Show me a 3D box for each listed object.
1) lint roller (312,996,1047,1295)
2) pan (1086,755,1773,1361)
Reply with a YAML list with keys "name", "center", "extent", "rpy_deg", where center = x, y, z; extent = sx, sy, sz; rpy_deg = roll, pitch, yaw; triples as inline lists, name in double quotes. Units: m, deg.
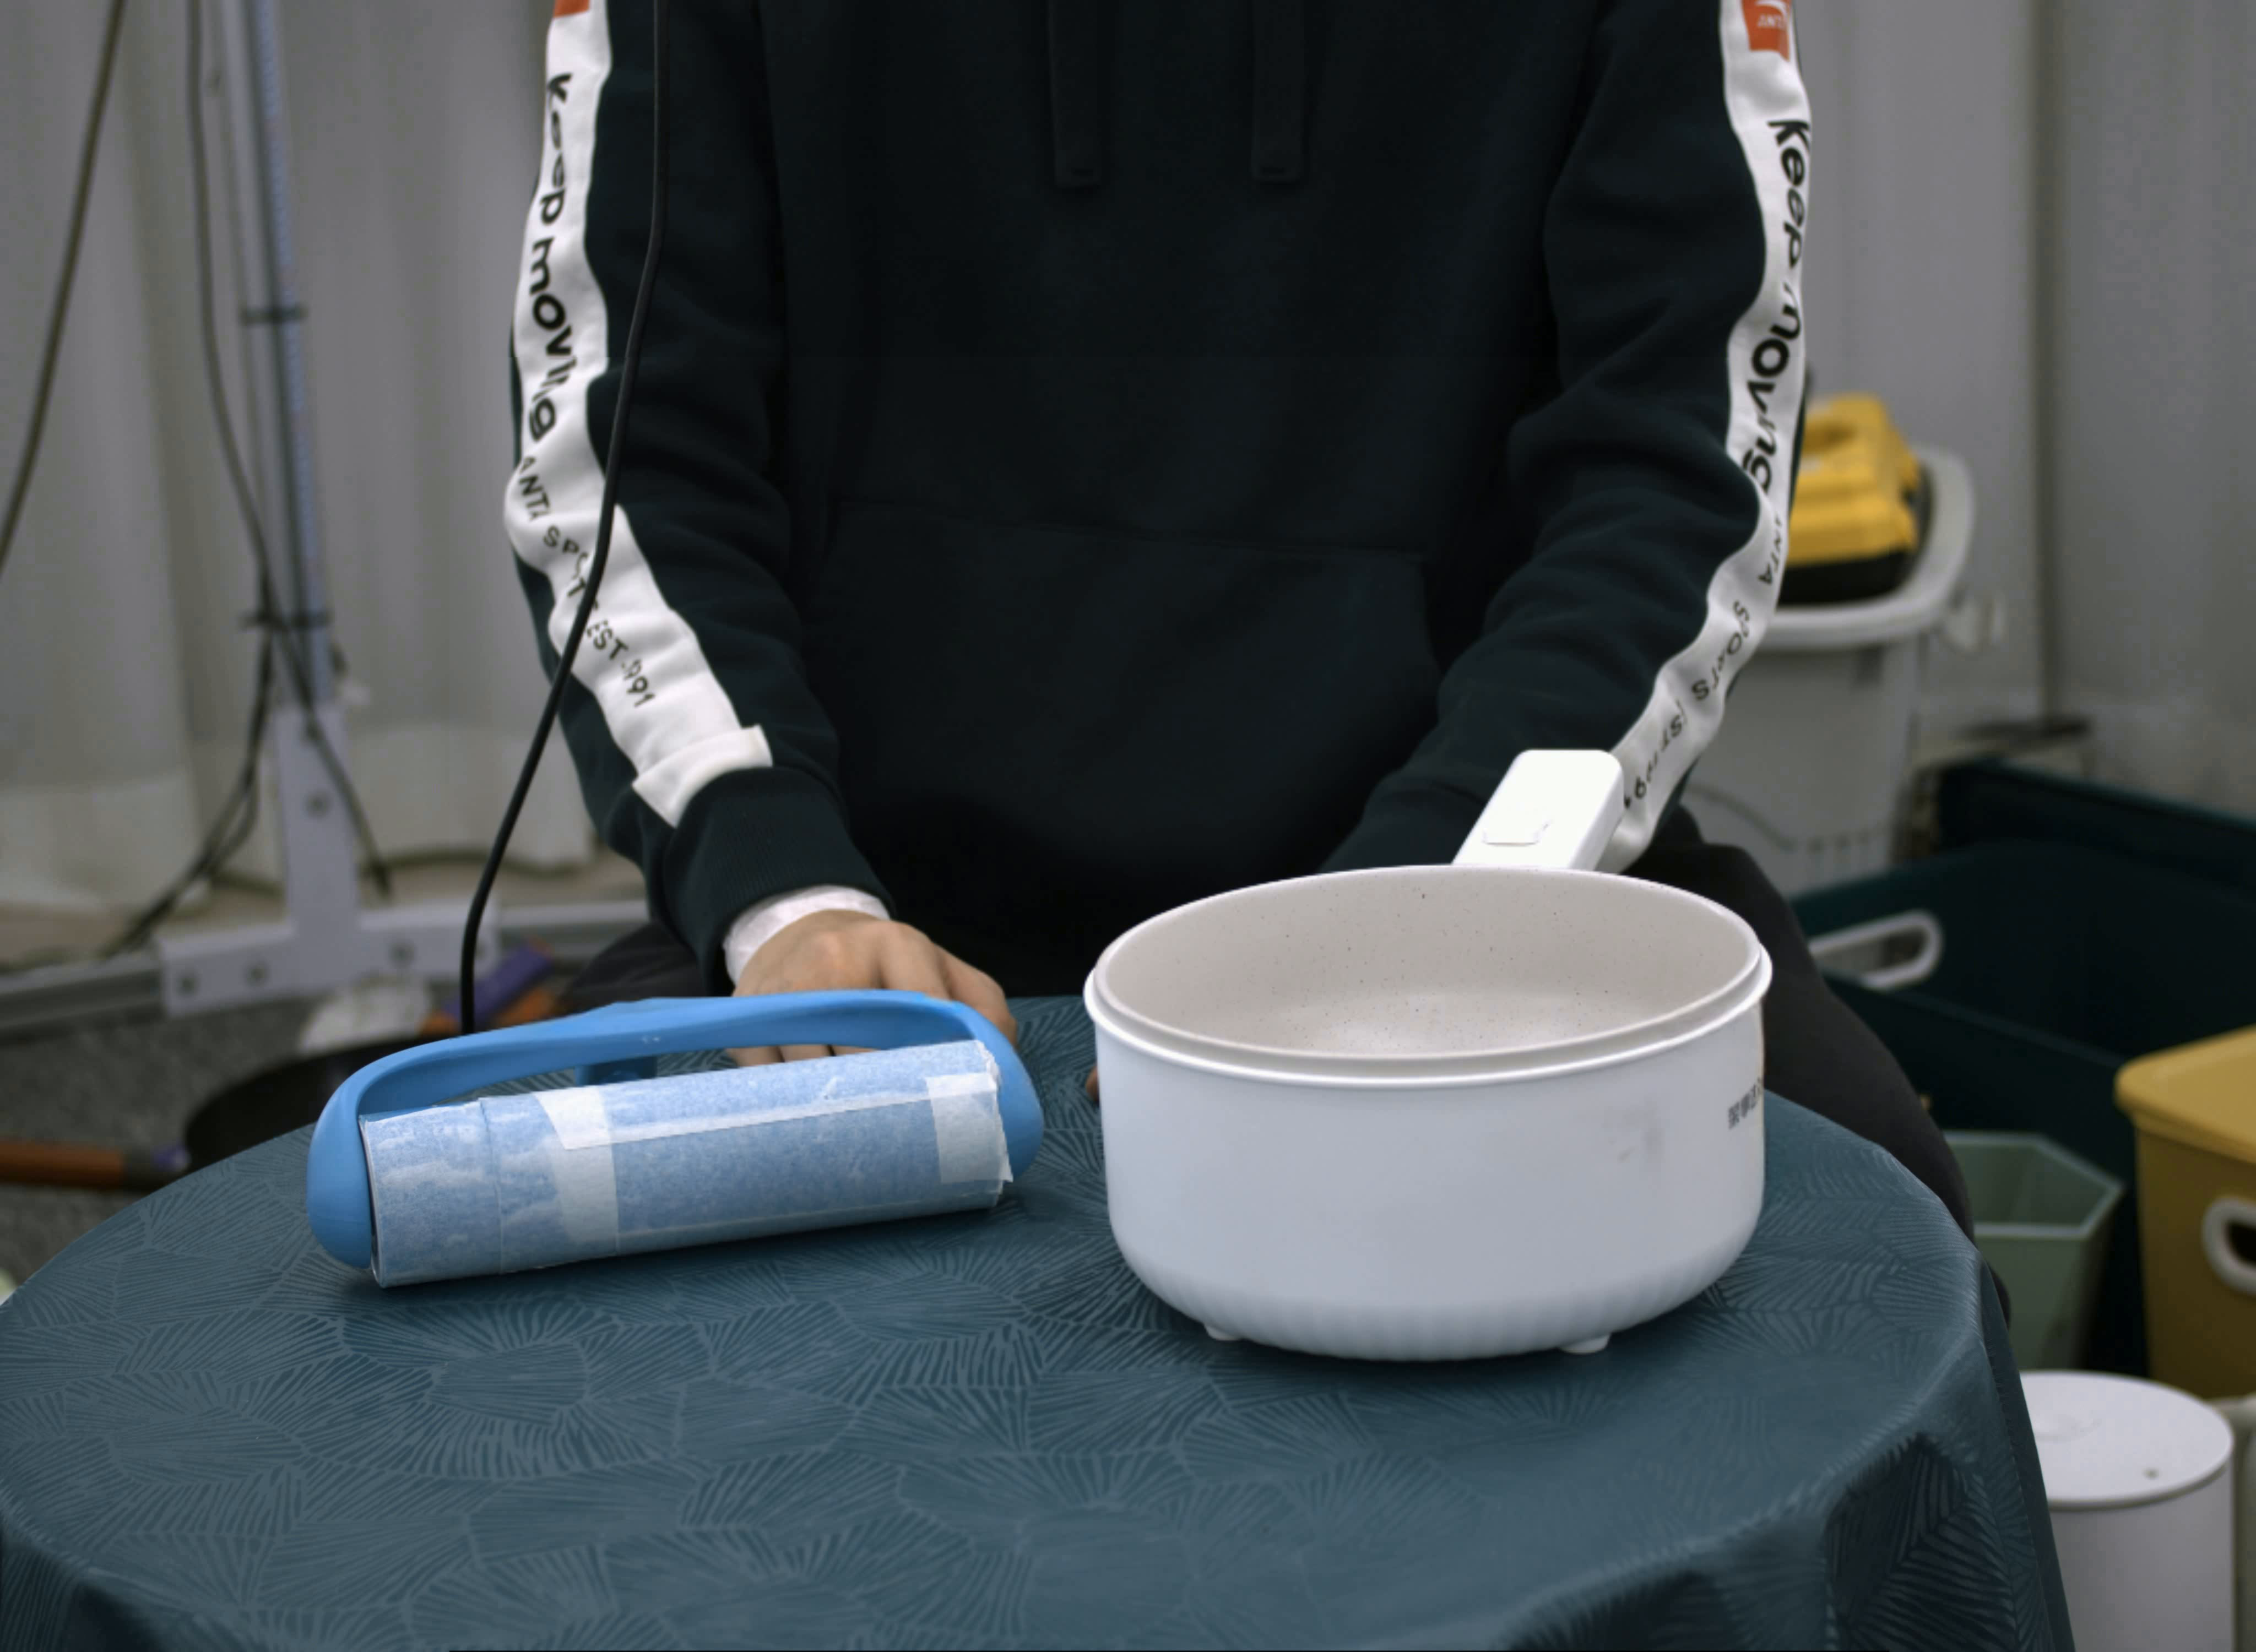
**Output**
- name: "lint roller"
  center: [-0.154, 0.089, 1.734]
  extent: [0.228, 0.067, 0.182]
  rpy_deg: [-9, 17, -15]
- name: "pan"
  center: [0.108, 0.067, 1.679]
  extent: [0.201, 0.102, 0.356]
  rpy_deg: [0, 15, 14]
